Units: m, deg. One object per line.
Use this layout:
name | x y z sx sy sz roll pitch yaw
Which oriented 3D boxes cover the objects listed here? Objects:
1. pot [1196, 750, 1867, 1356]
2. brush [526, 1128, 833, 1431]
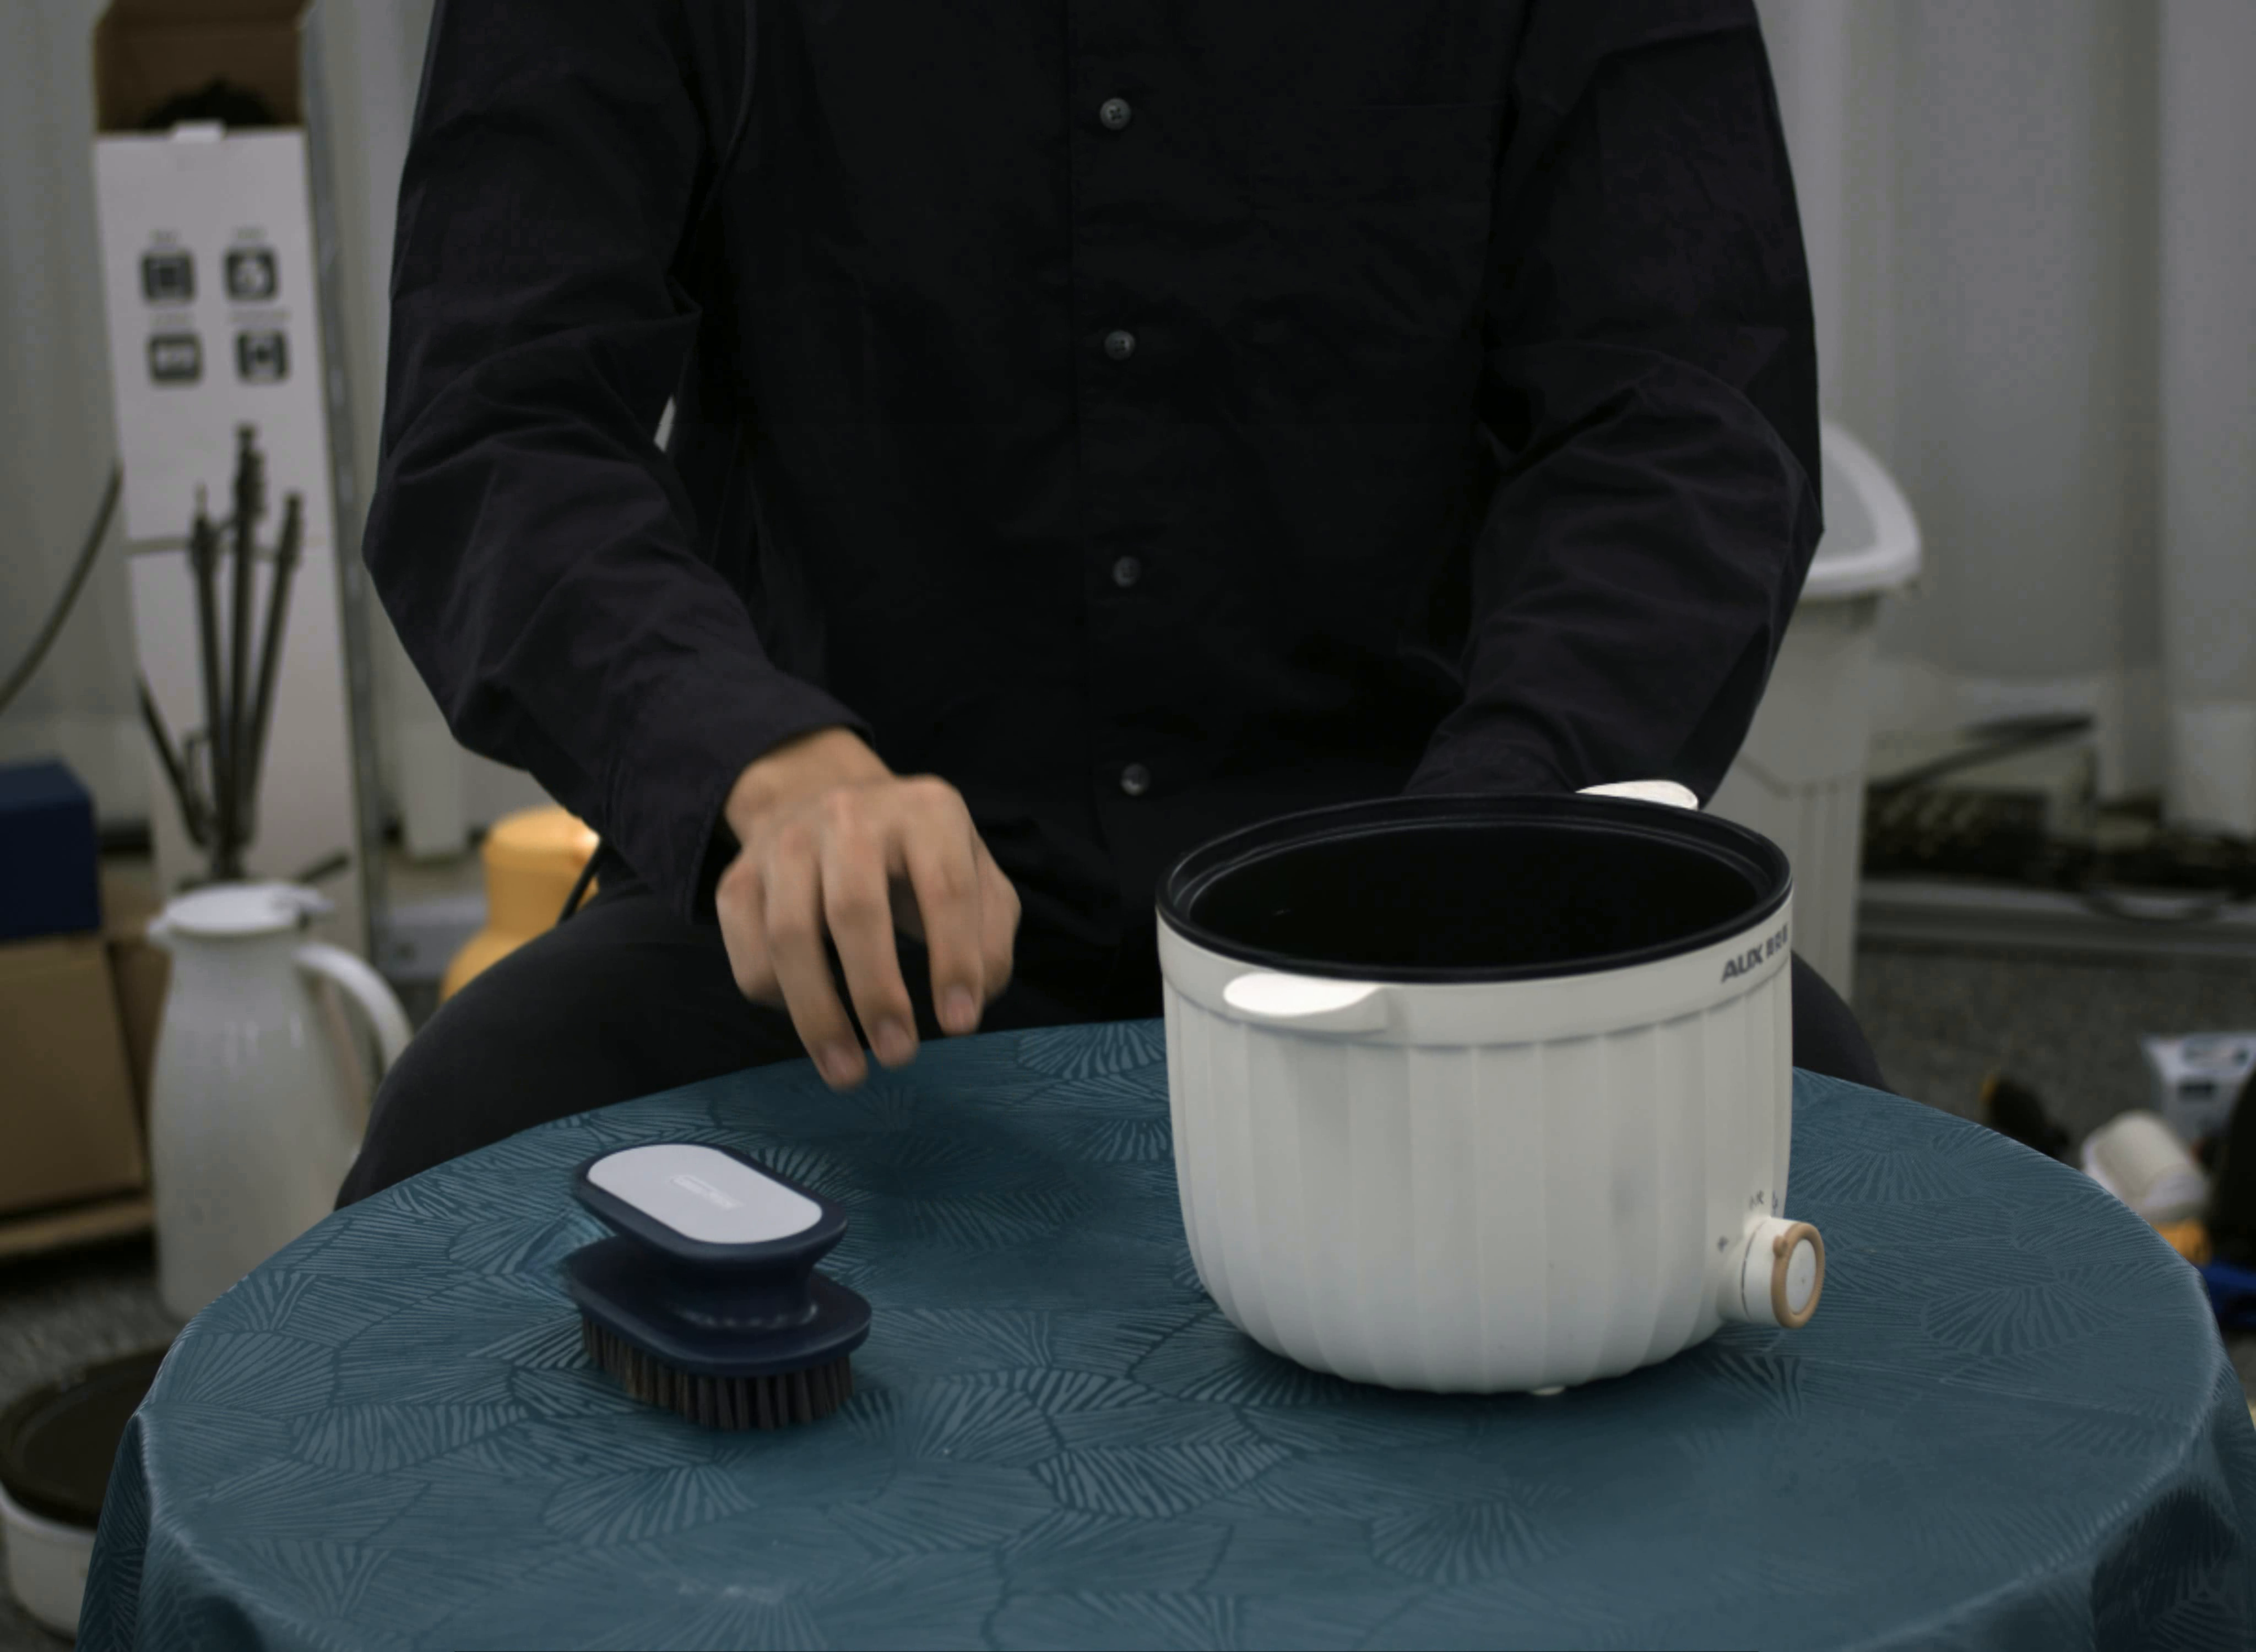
pot | 0.118 0.068 1.579 0.191 0.142 0.241 3 17 31
brush | -0.131 0.133 1.584 0.067 0.061 0.122 -12 20 -25
